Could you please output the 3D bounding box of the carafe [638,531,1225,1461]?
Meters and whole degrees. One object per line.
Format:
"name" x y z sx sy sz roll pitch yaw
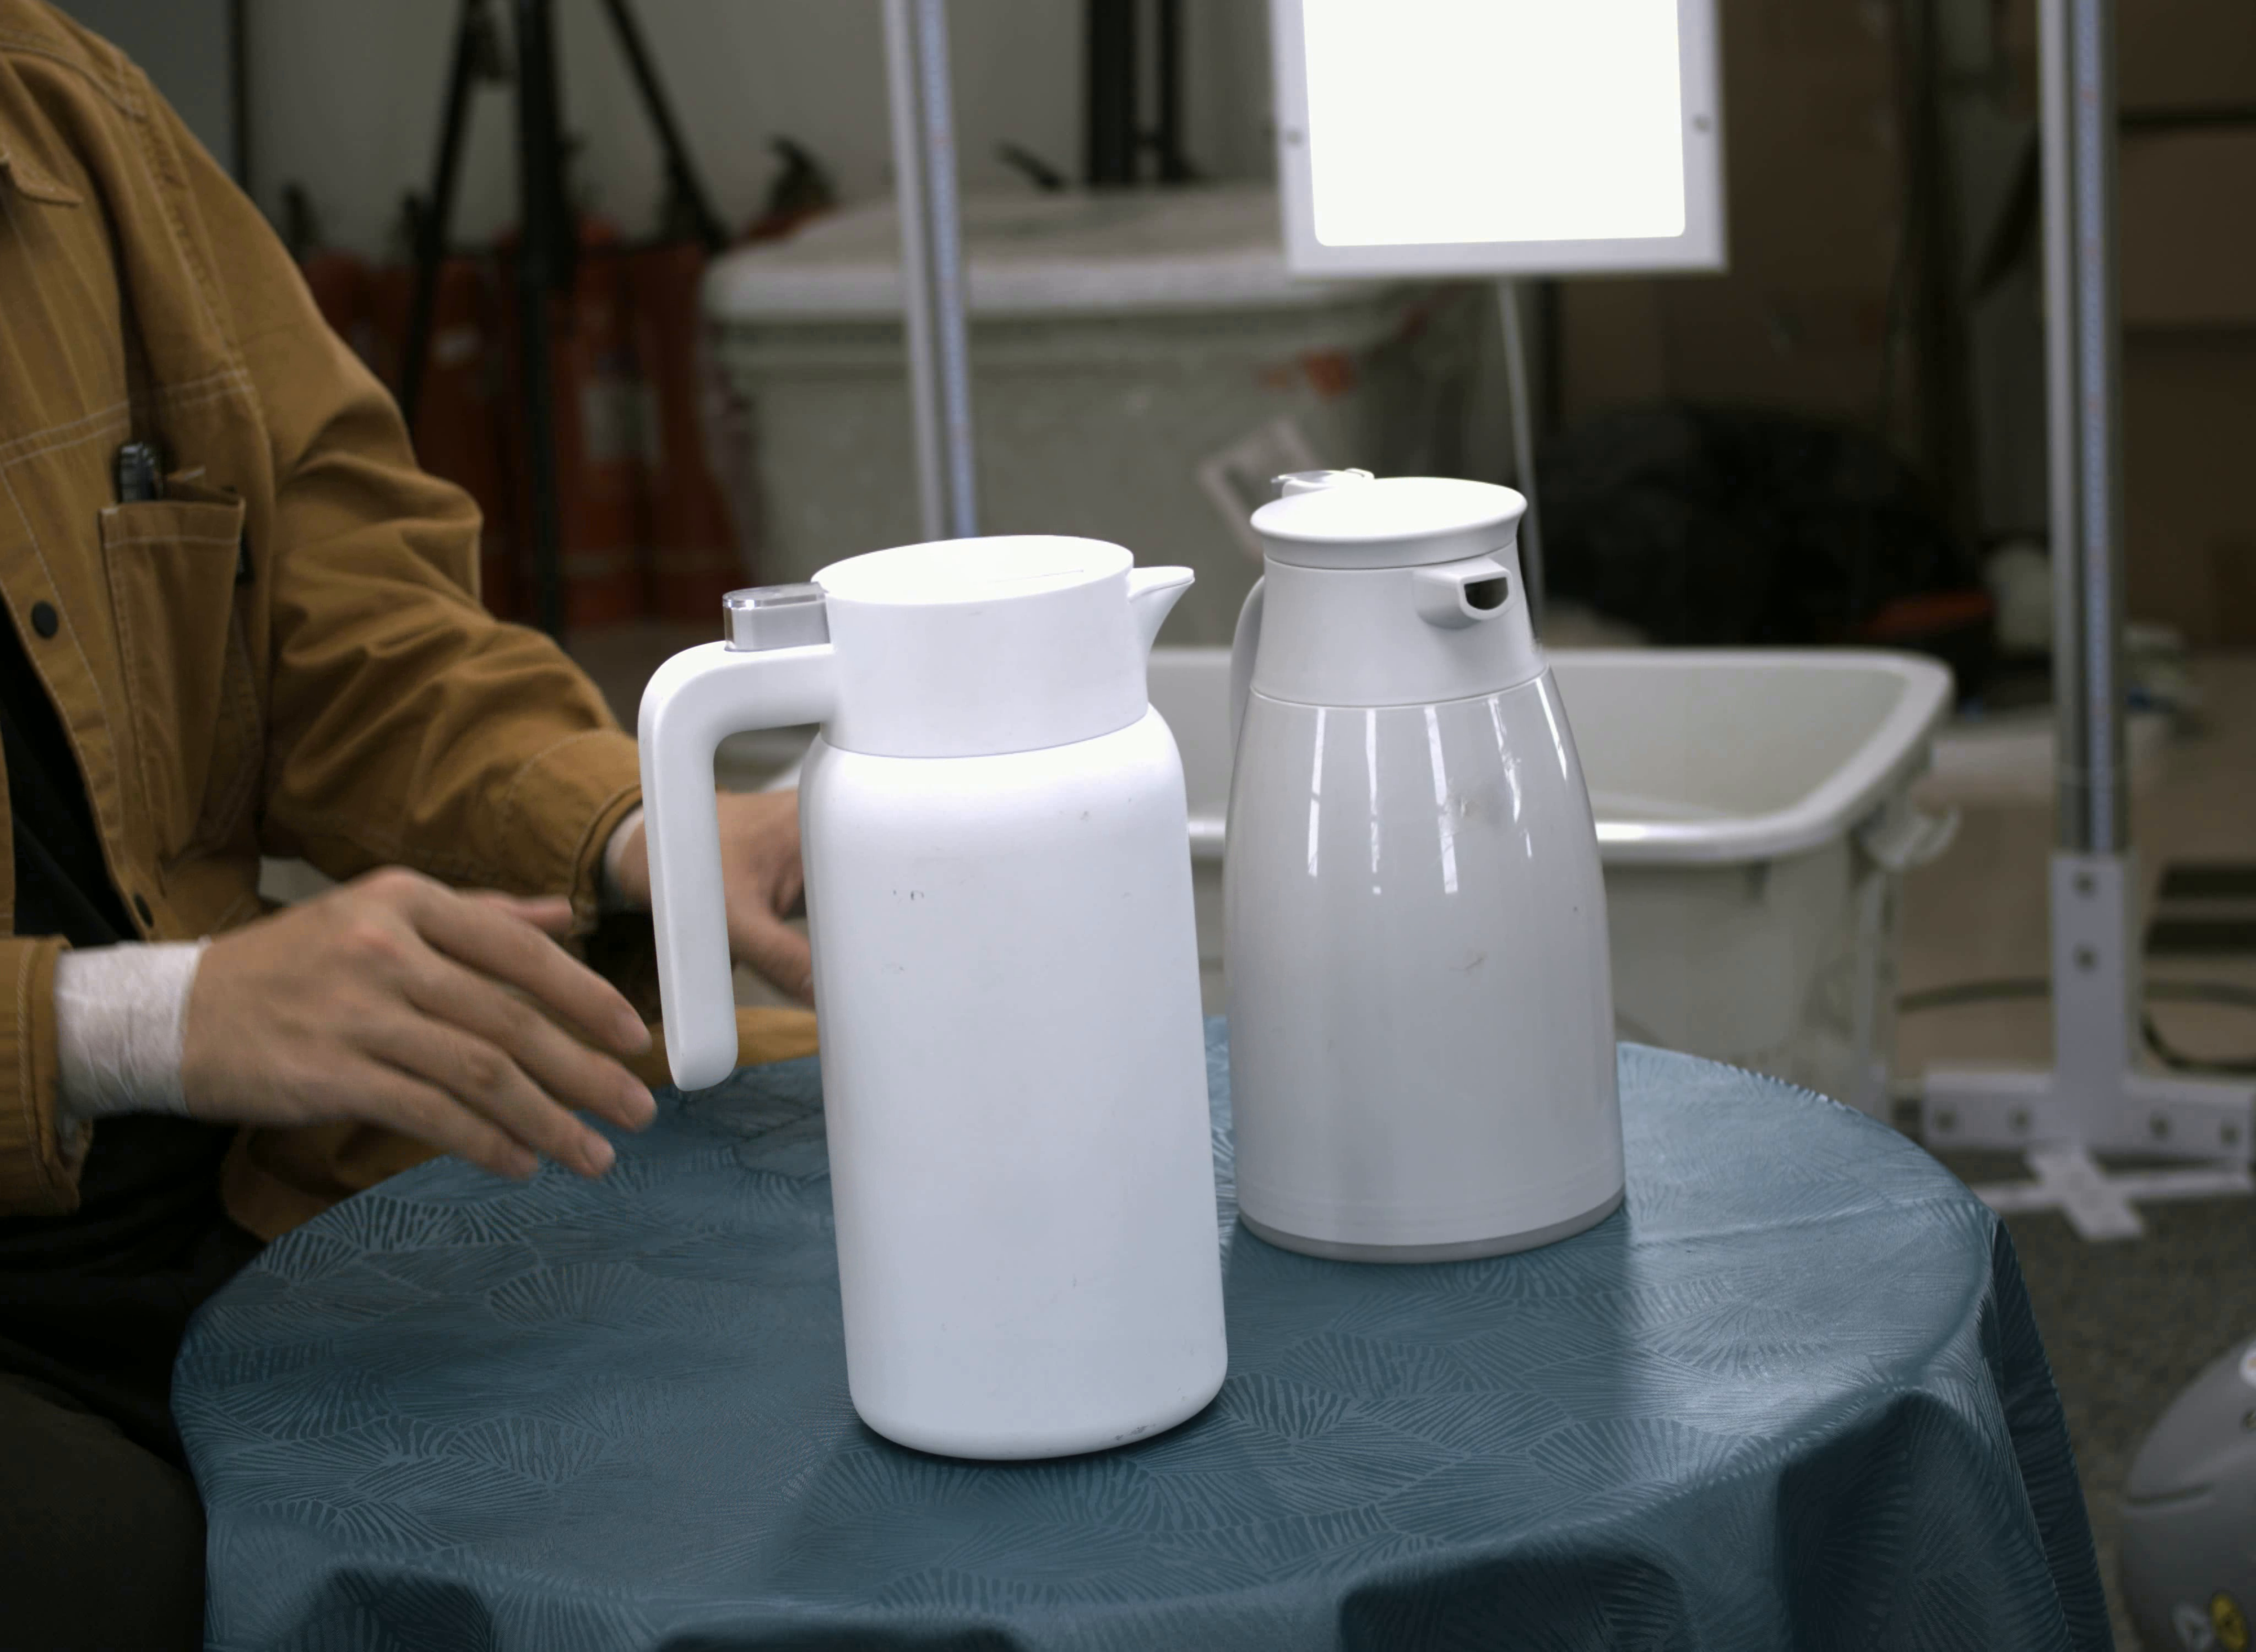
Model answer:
"carafe" -0.053 0.052 1.661 0.170 0.270 0.125 -8 16 -12

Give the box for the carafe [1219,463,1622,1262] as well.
"carafe" 0.083 0.004 1.844 0.130 0.249 0.170 -11 14 -25
